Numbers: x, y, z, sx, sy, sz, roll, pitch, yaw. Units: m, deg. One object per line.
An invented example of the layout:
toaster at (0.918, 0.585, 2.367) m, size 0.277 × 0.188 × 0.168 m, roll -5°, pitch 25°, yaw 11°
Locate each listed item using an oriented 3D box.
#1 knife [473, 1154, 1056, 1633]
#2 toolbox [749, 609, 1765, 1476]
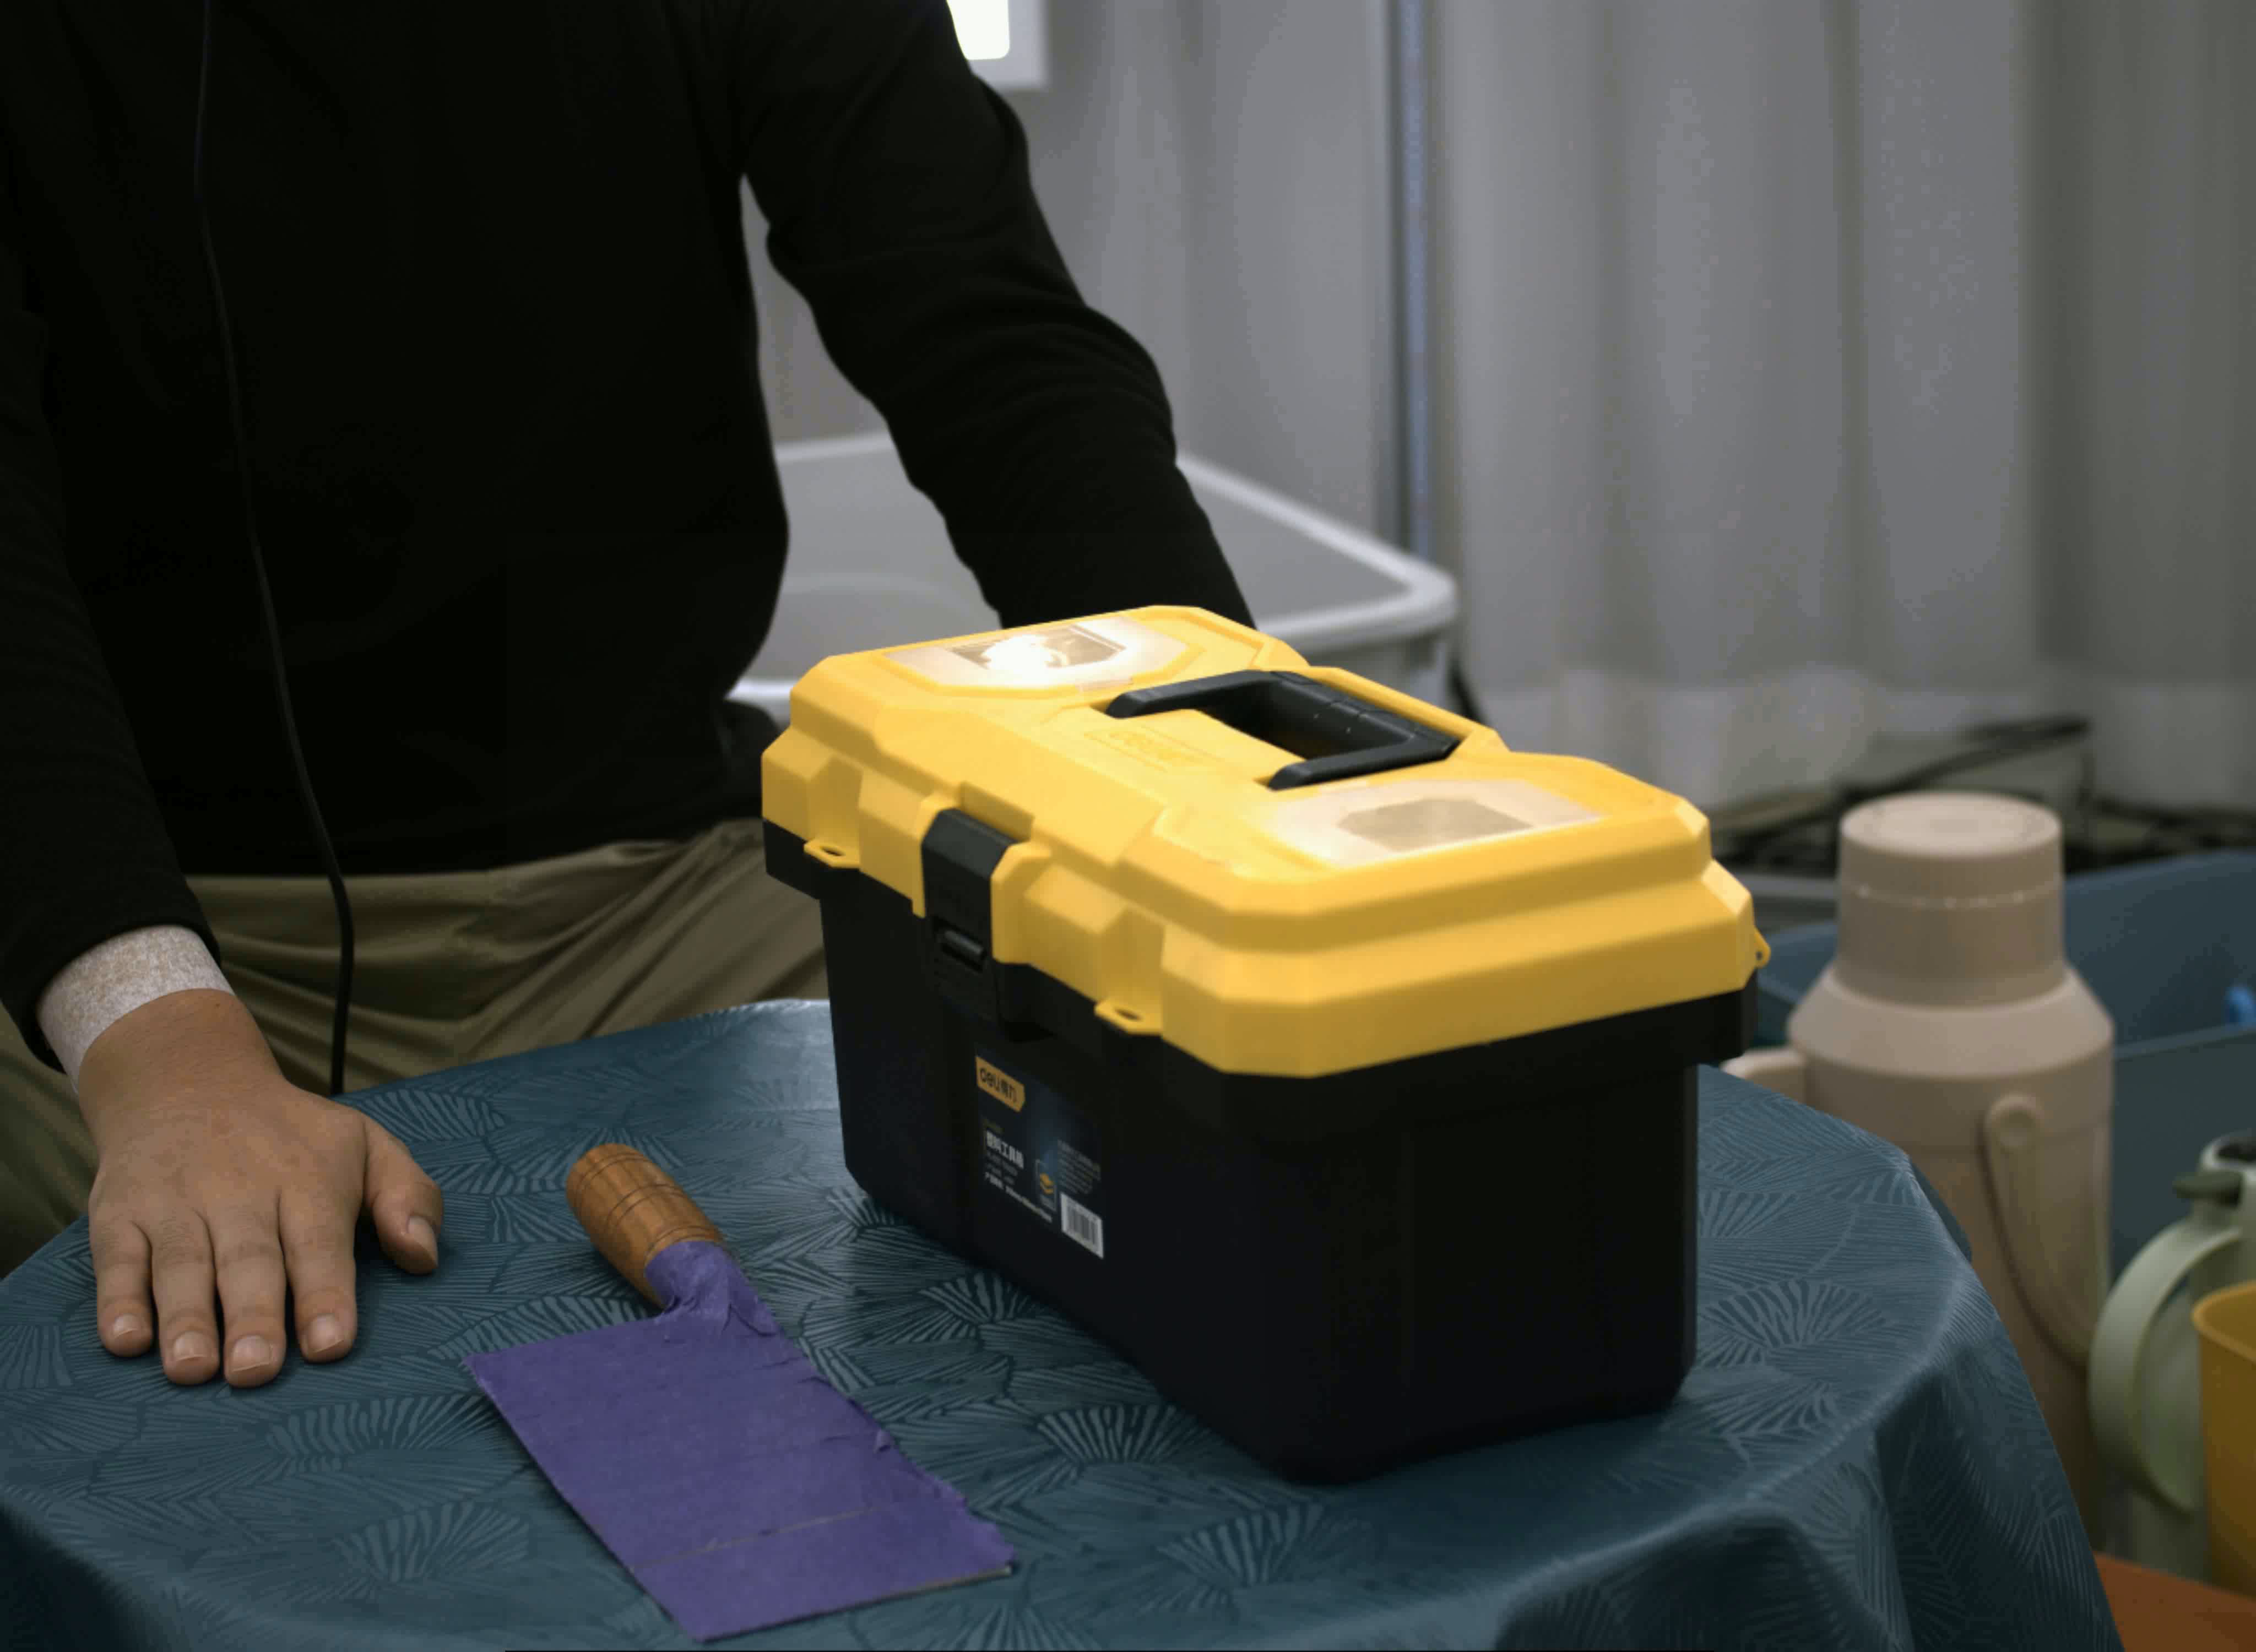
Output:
knife at (-0.128, 0.155, 1.536) m, size 0.103 × 0.032 × 0.318 m, roll -9°, pitch 17°, yaw -23°
toolbox at (0.030, 0.054, 1.602) m, size 0.180 × 0.172 × 0.354 m, roll -9°, pitch 15°, yaw -24°
